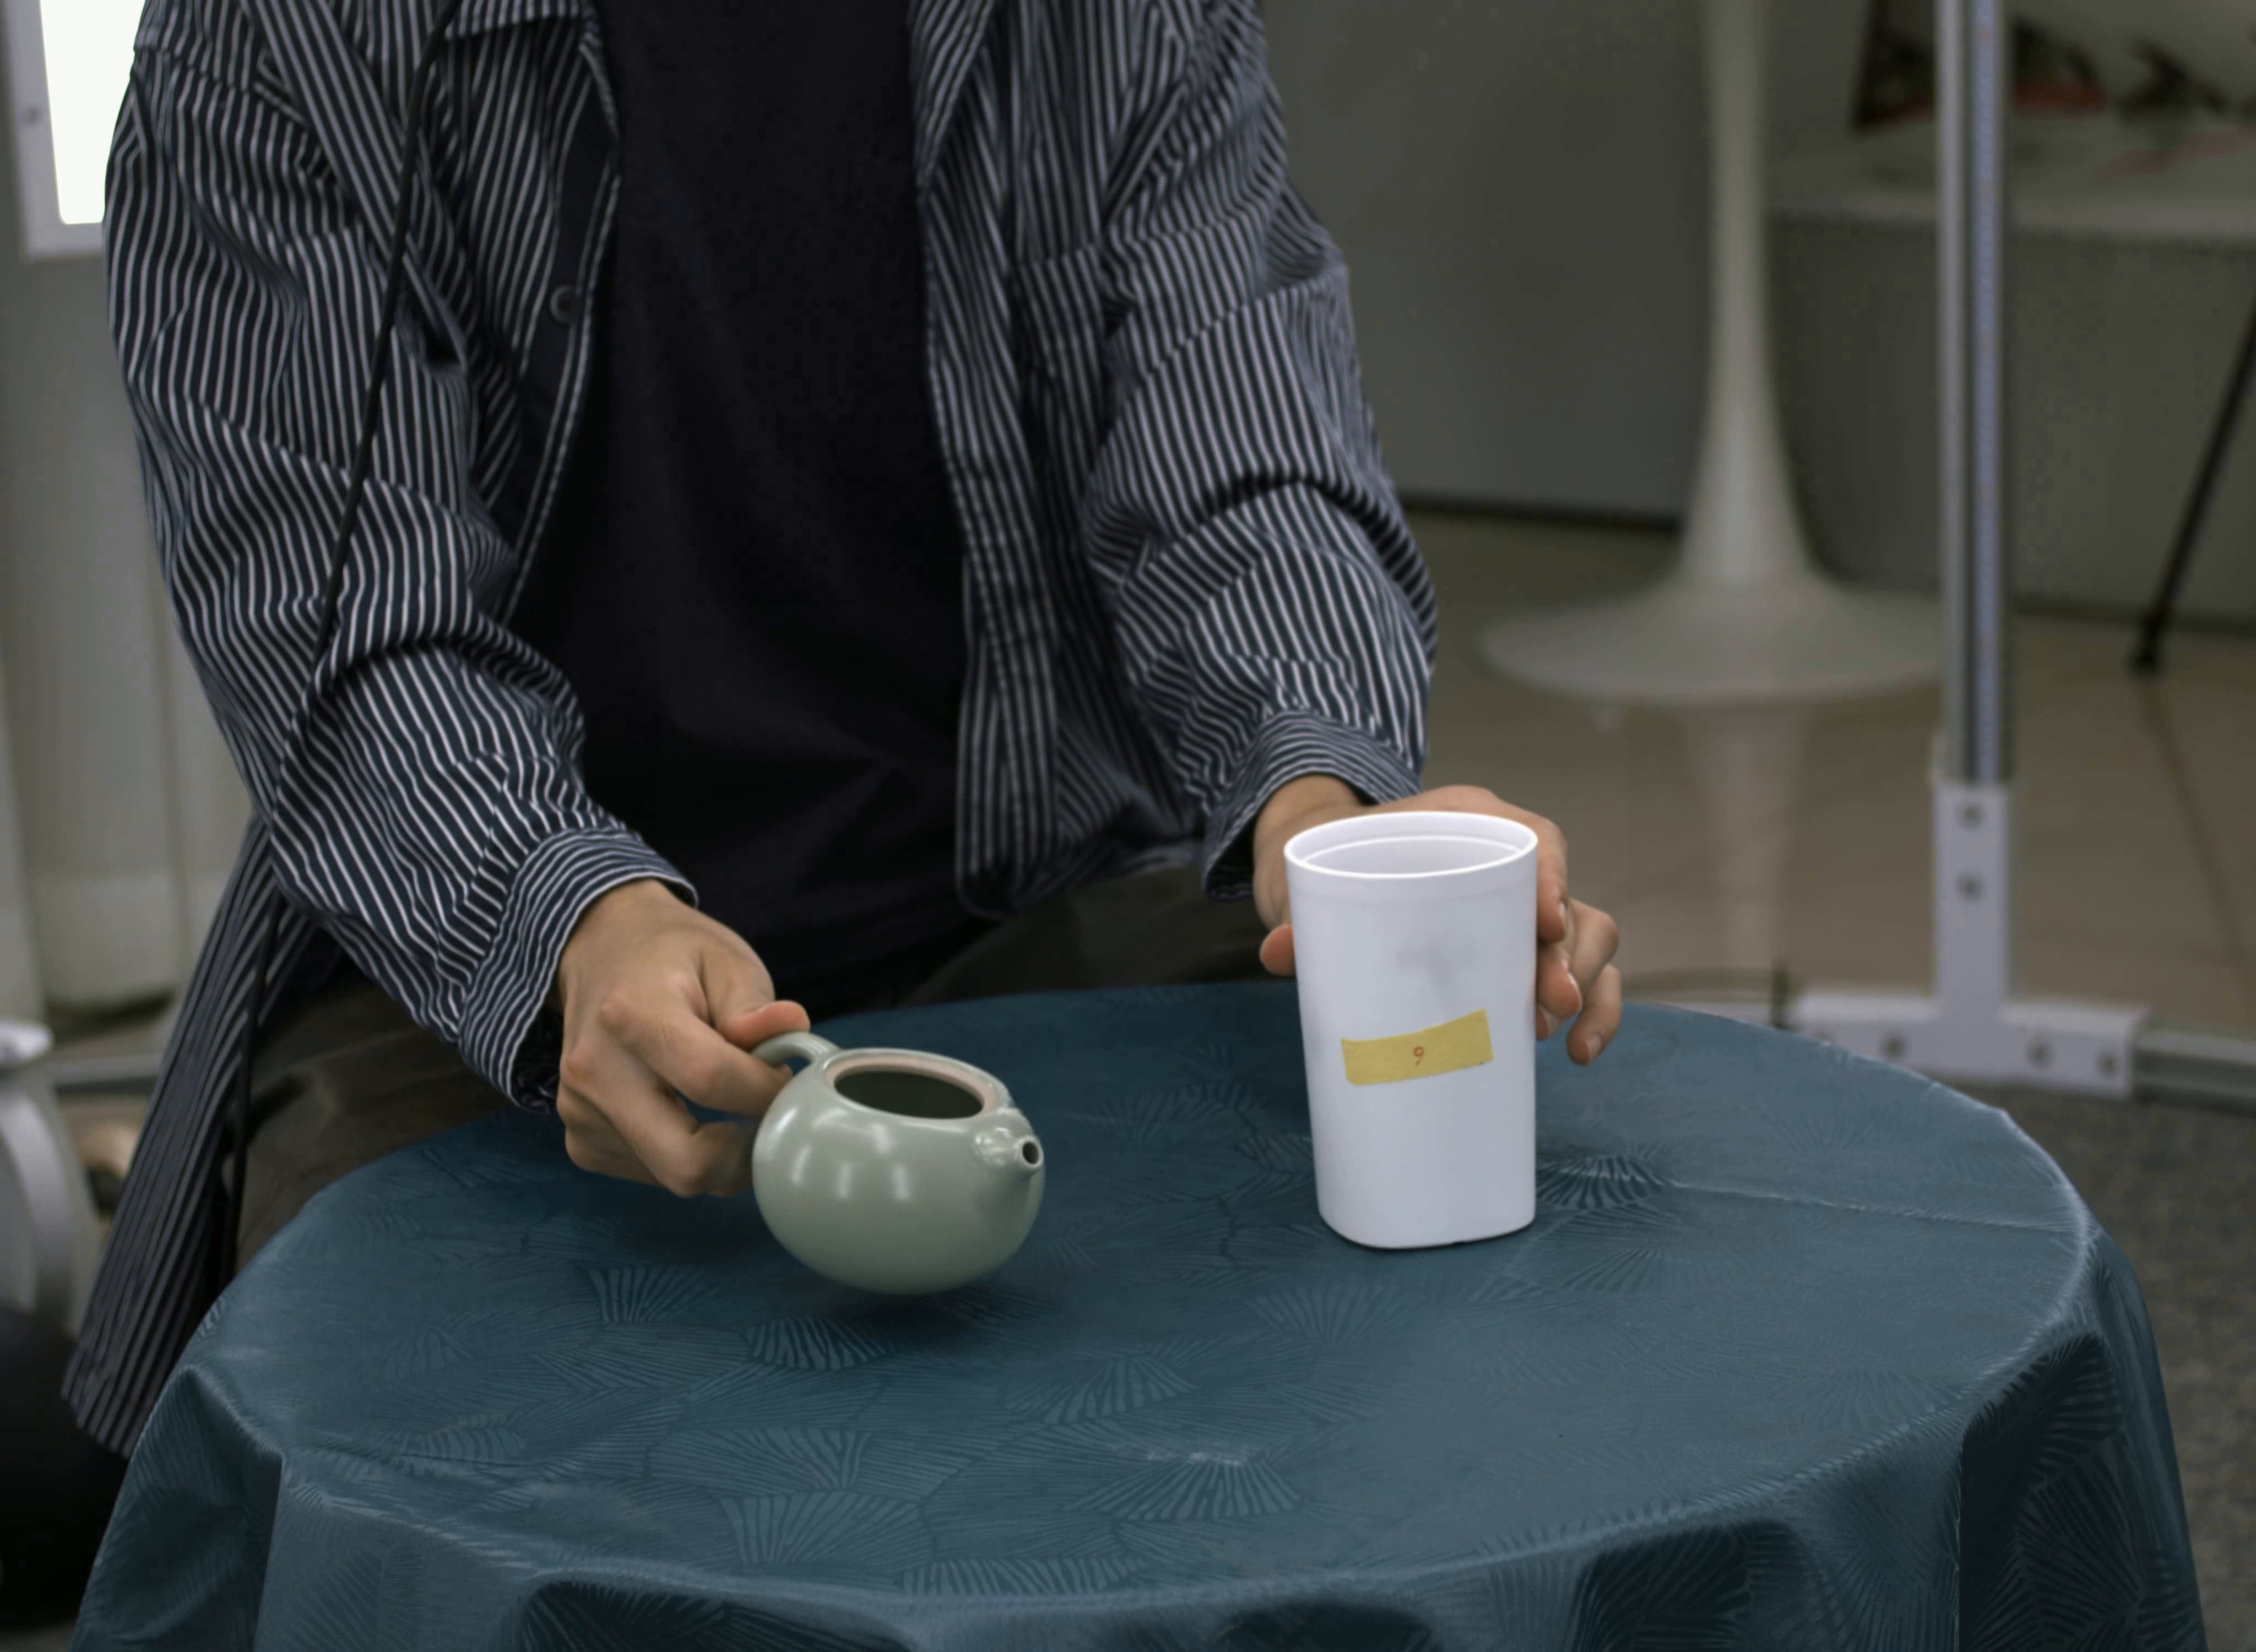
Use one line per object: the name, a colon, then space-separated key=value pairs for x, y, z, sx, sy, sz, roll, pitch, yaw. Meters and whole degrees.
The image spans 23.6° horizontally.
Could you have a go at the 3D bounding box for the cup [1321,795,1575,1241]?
cup: x=0.104 y=0.061 z=1.707 sx=0.080 sy=0.127 sz=0.082 roll=-4 pitch=13 yaw=0

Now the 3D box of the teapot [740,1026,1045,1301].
teapot: x=-0.077 y=0.104 z=1.666 sx=0.089 sy=0.061 sz=0.130 roll=-11 pitch=26 yaw=-41
